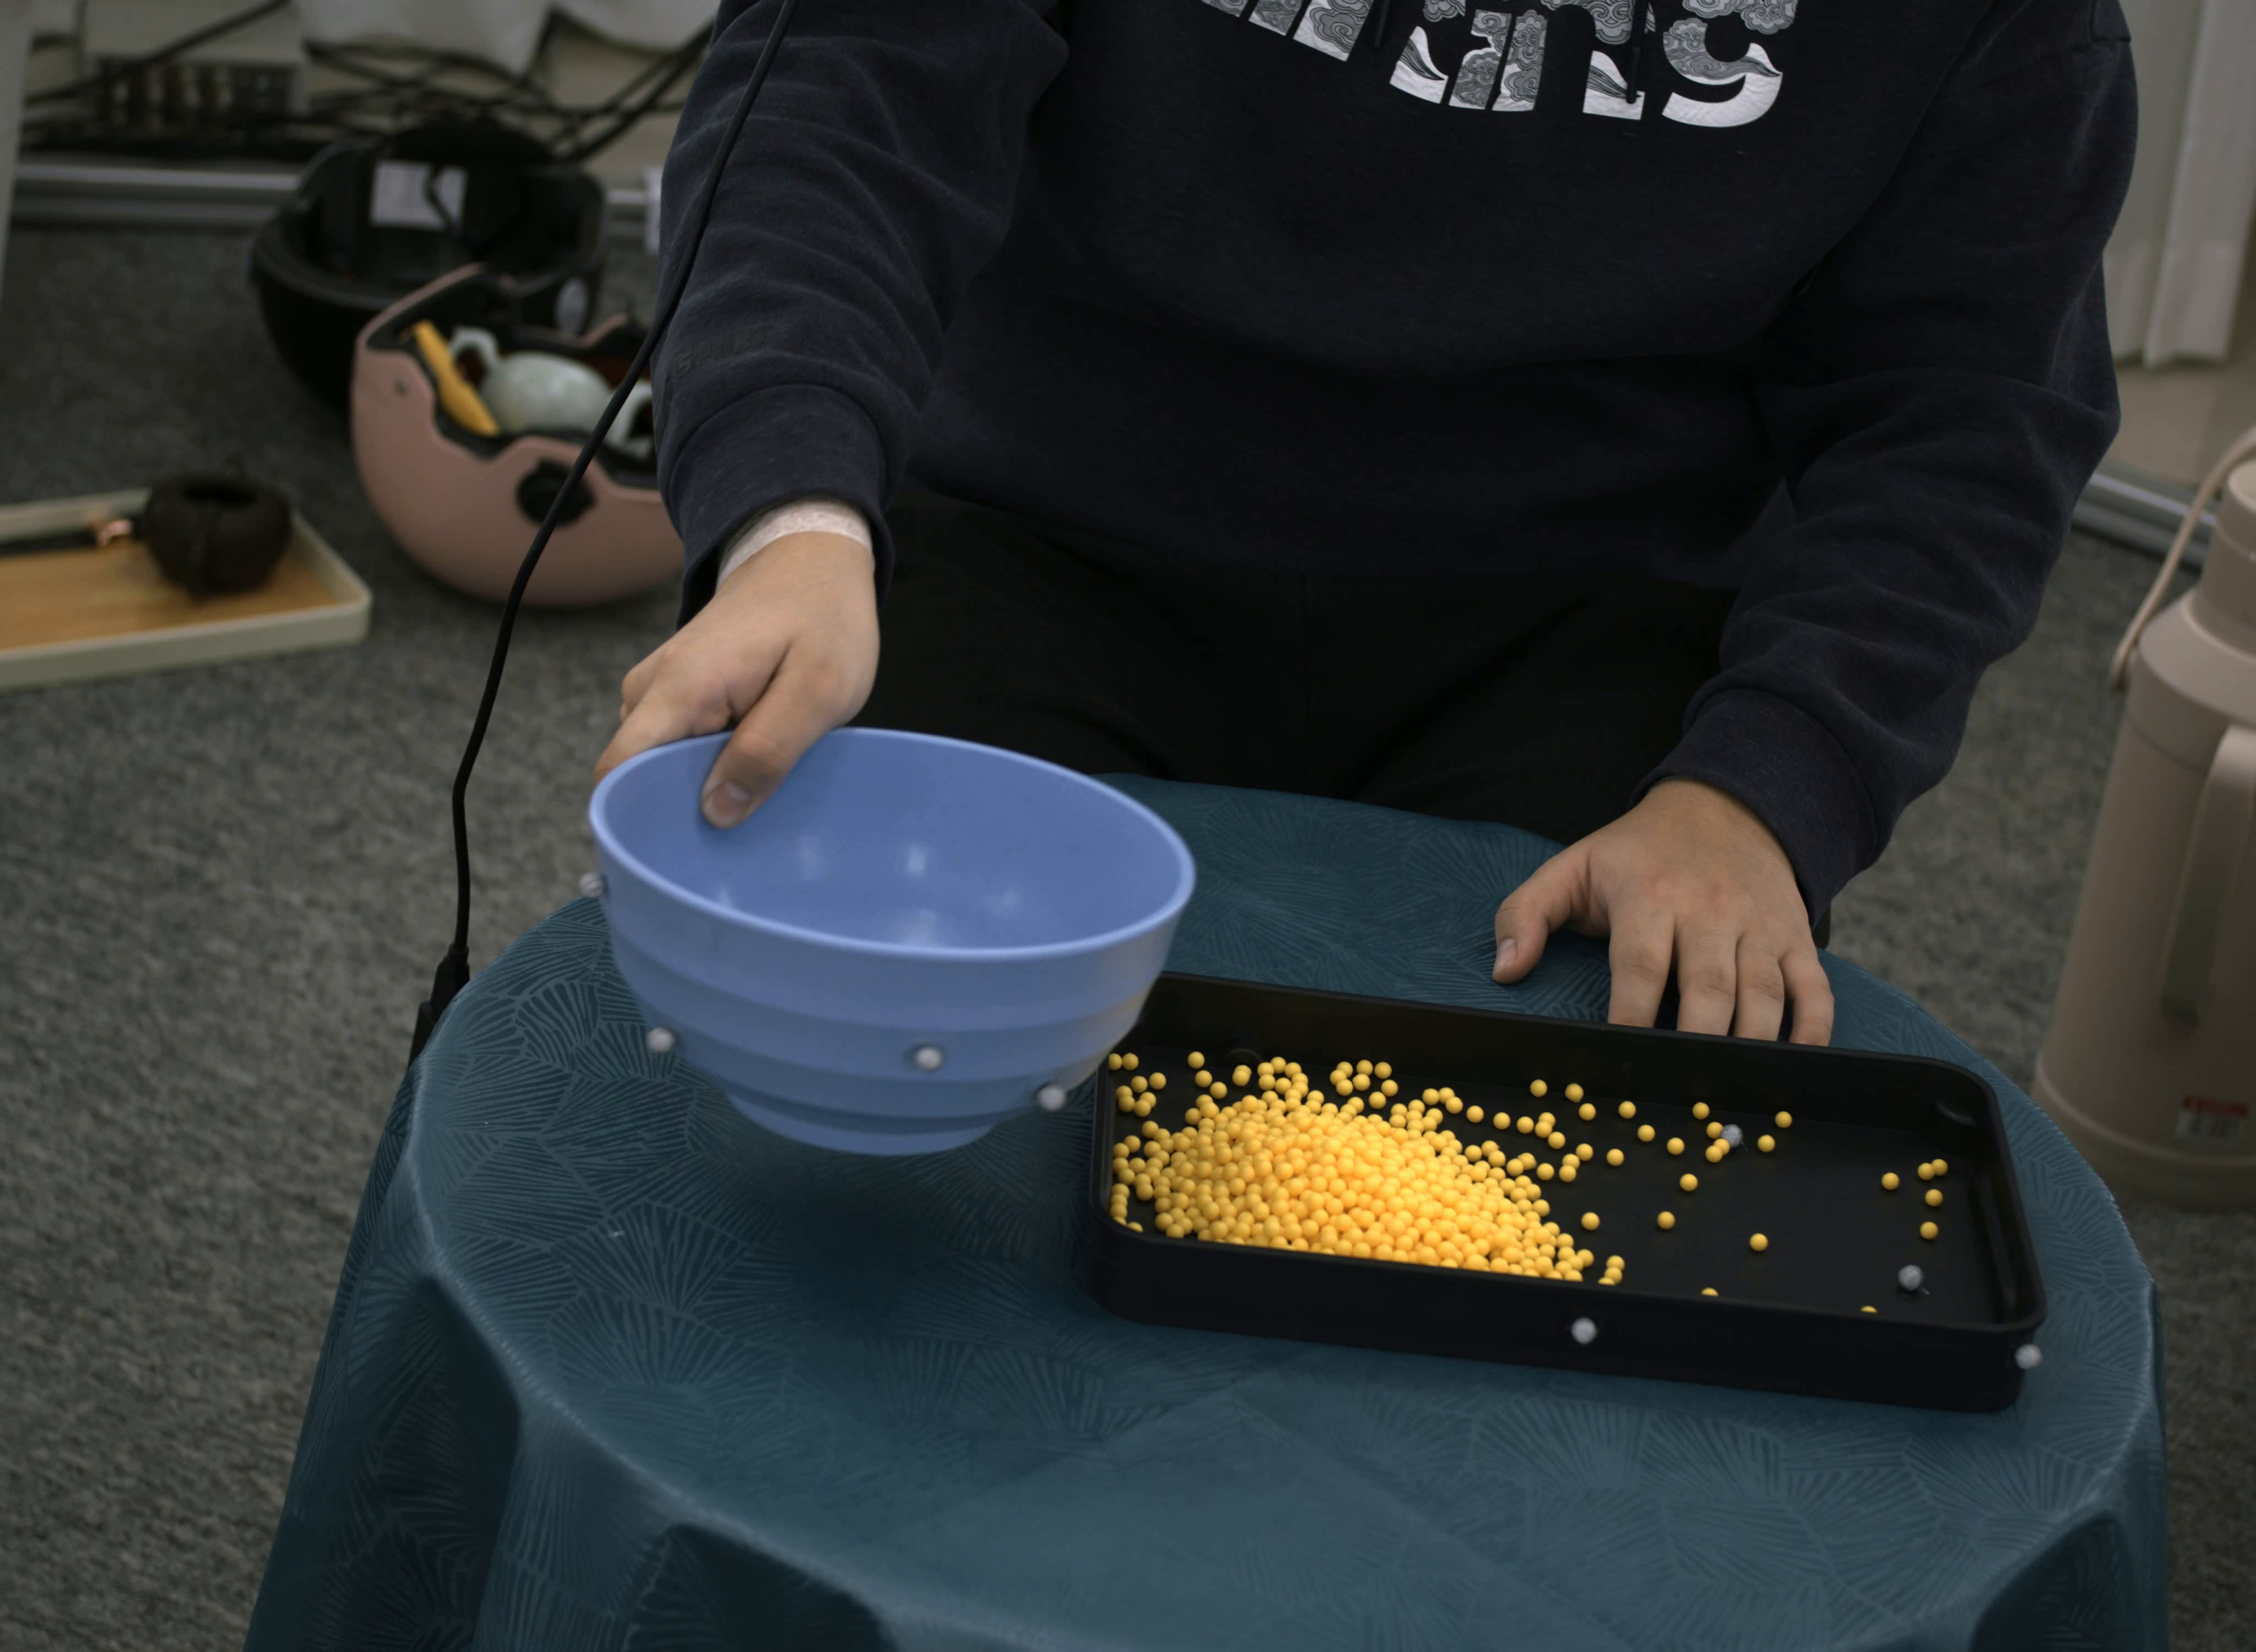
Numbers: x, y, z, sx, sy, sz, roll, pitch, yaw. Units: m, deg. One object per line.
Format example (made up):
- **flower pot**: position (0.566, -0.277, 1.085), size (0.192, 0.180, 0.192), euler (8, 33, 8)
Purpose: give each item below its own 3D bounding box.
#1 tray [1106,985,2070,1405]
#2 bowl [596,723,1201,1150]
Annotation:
- **tray**: position (0.149, 0.123, 1.806), size (0.317, 0.037, 0.185), euler (5, 26, -2)
- **bowl**: position (-0.078, 0.043, 1.730), size (0.196, 0.095, 0.197), euler (6, 21, -2)
